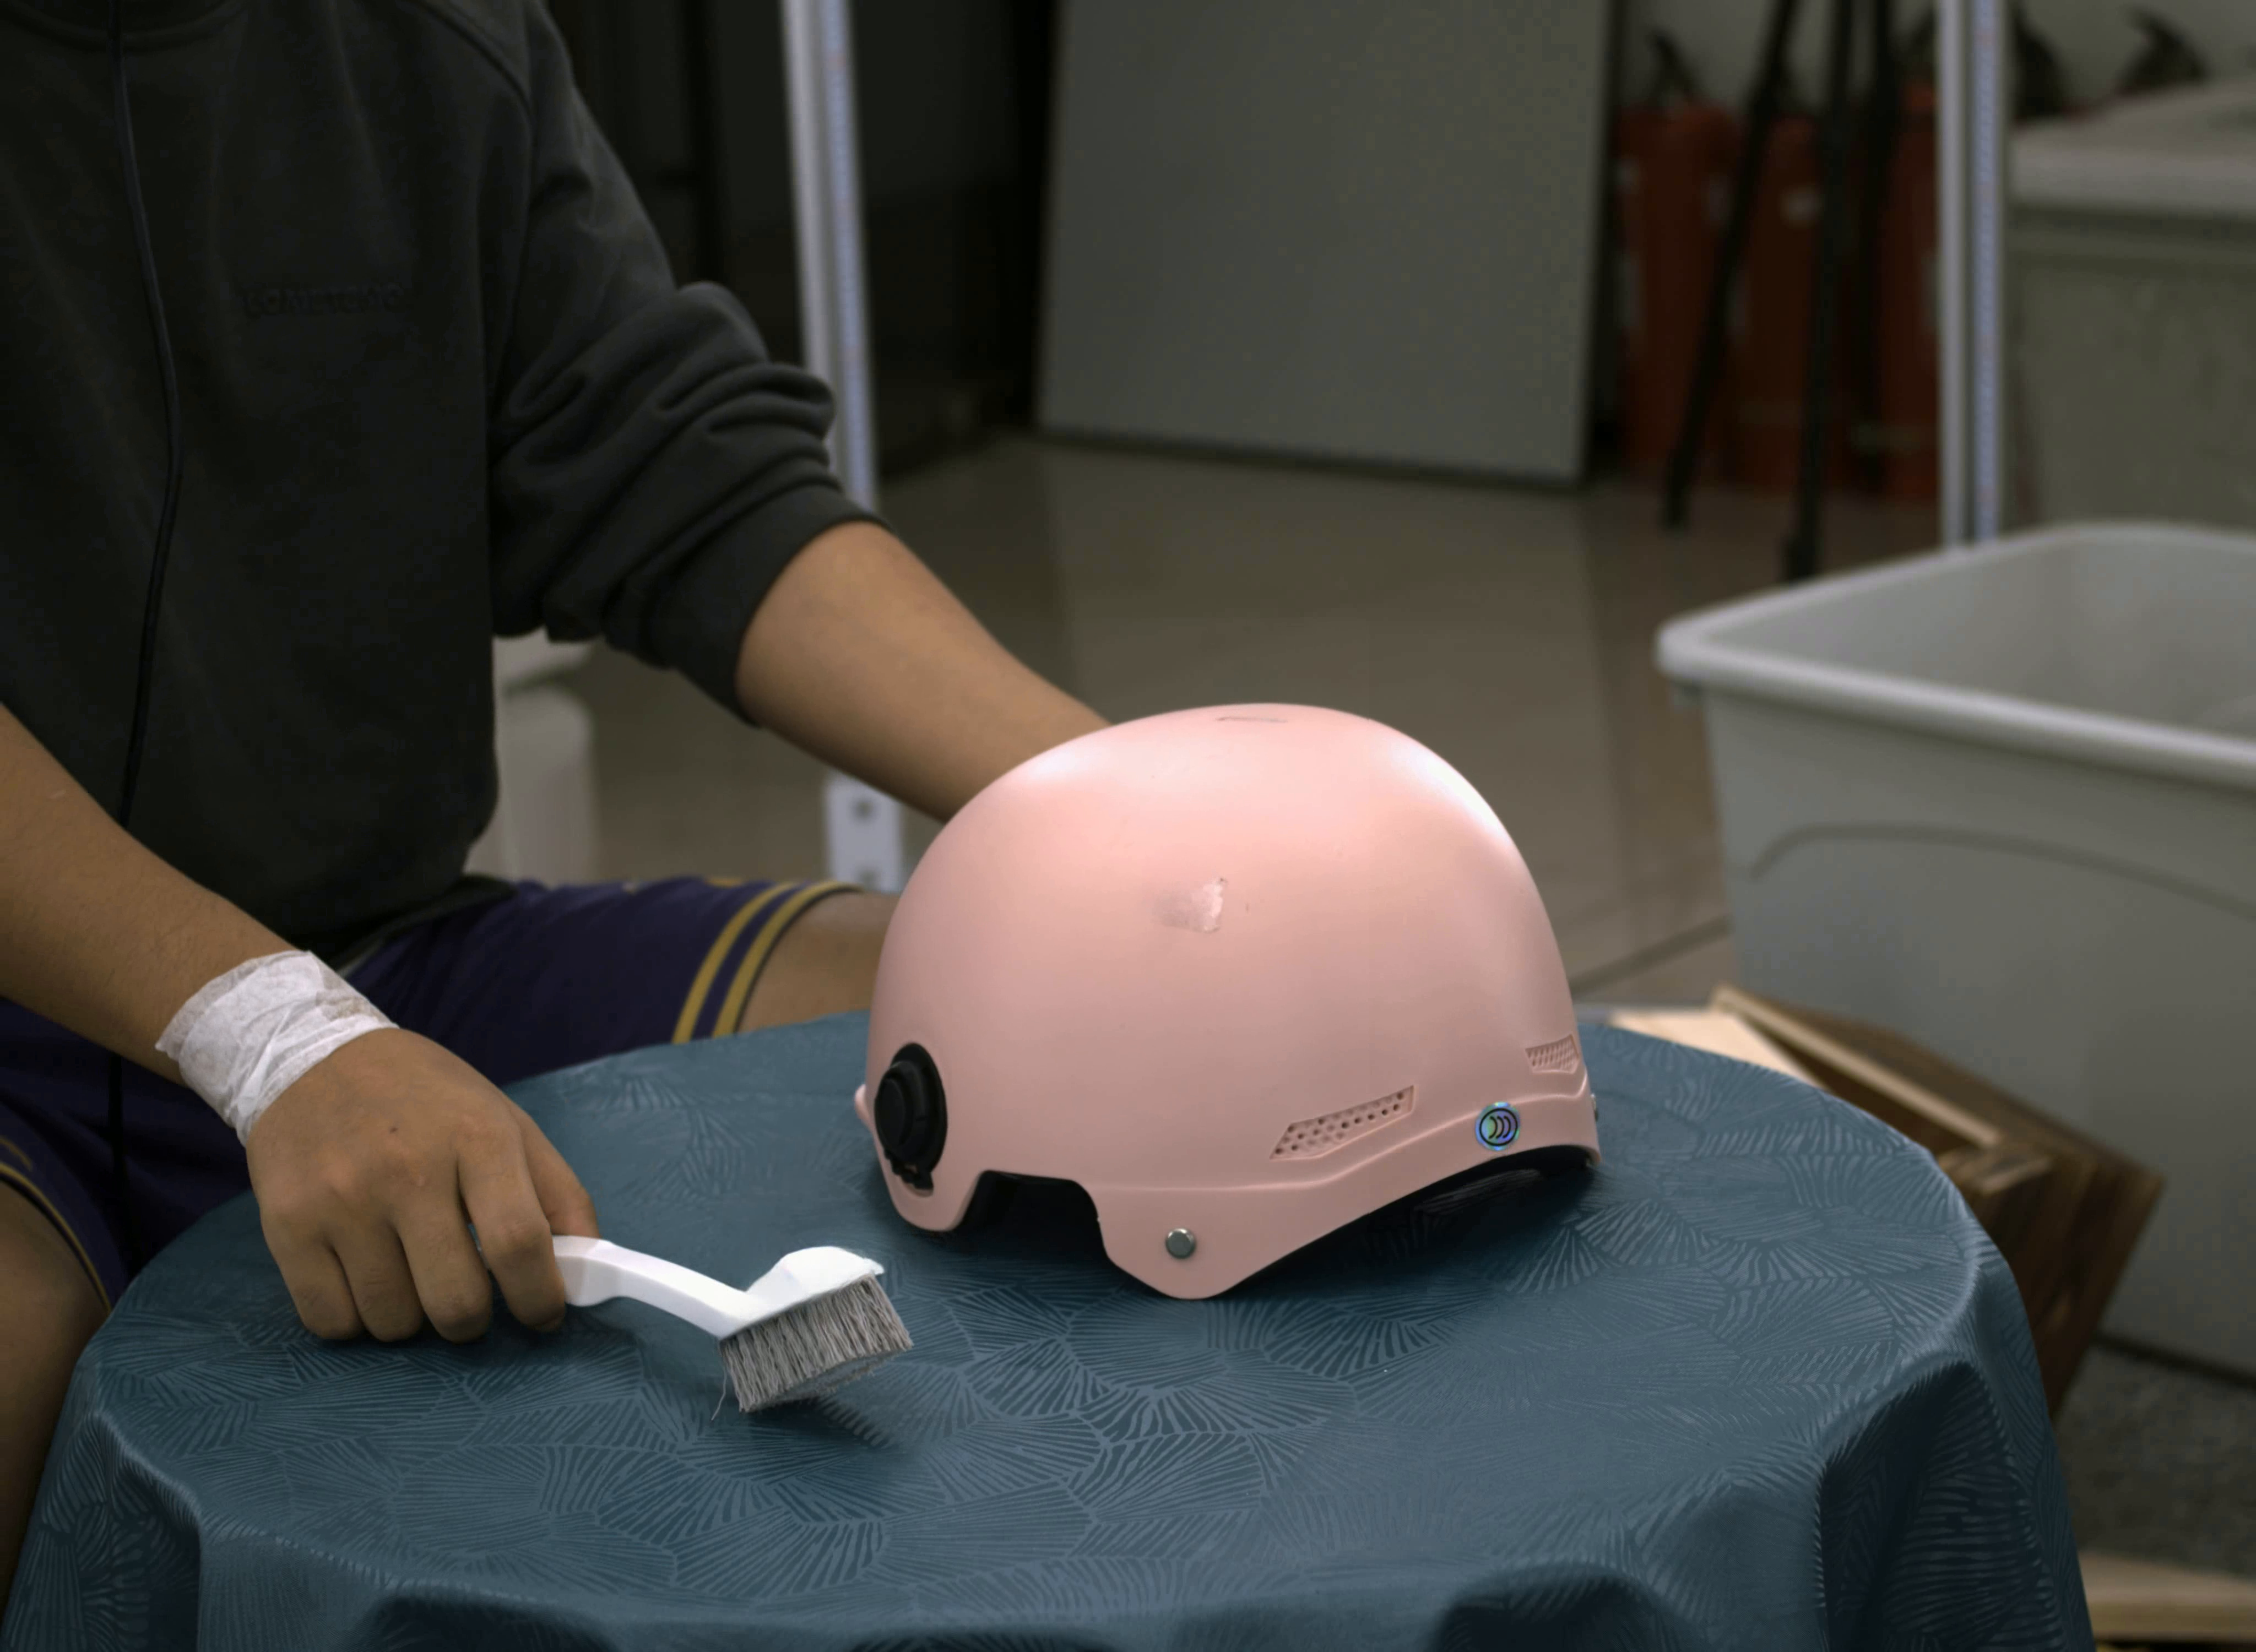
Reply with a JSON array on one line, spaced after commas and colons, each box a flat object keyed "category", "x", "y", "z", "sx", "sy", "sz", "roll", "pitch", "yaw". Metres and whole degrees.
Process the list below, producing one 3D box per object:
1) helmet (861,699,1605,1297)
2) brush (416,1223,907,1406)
[{"category": "helmet", "x": 0.025, "y": 0.040, "z": 1.760, "sx": 0.229, "sy": 0.160, "sz": 0.269, "roll": -16, "pitch": 16, "yaw": -36}, {"category": "brush", "x": -0.146, "y": 0.150, "z": 1.641, "sx": 0.033, "sy": 0.051, "sz": 0.246, "roll": -11, "pitch": 1, "yaw": -37}]
